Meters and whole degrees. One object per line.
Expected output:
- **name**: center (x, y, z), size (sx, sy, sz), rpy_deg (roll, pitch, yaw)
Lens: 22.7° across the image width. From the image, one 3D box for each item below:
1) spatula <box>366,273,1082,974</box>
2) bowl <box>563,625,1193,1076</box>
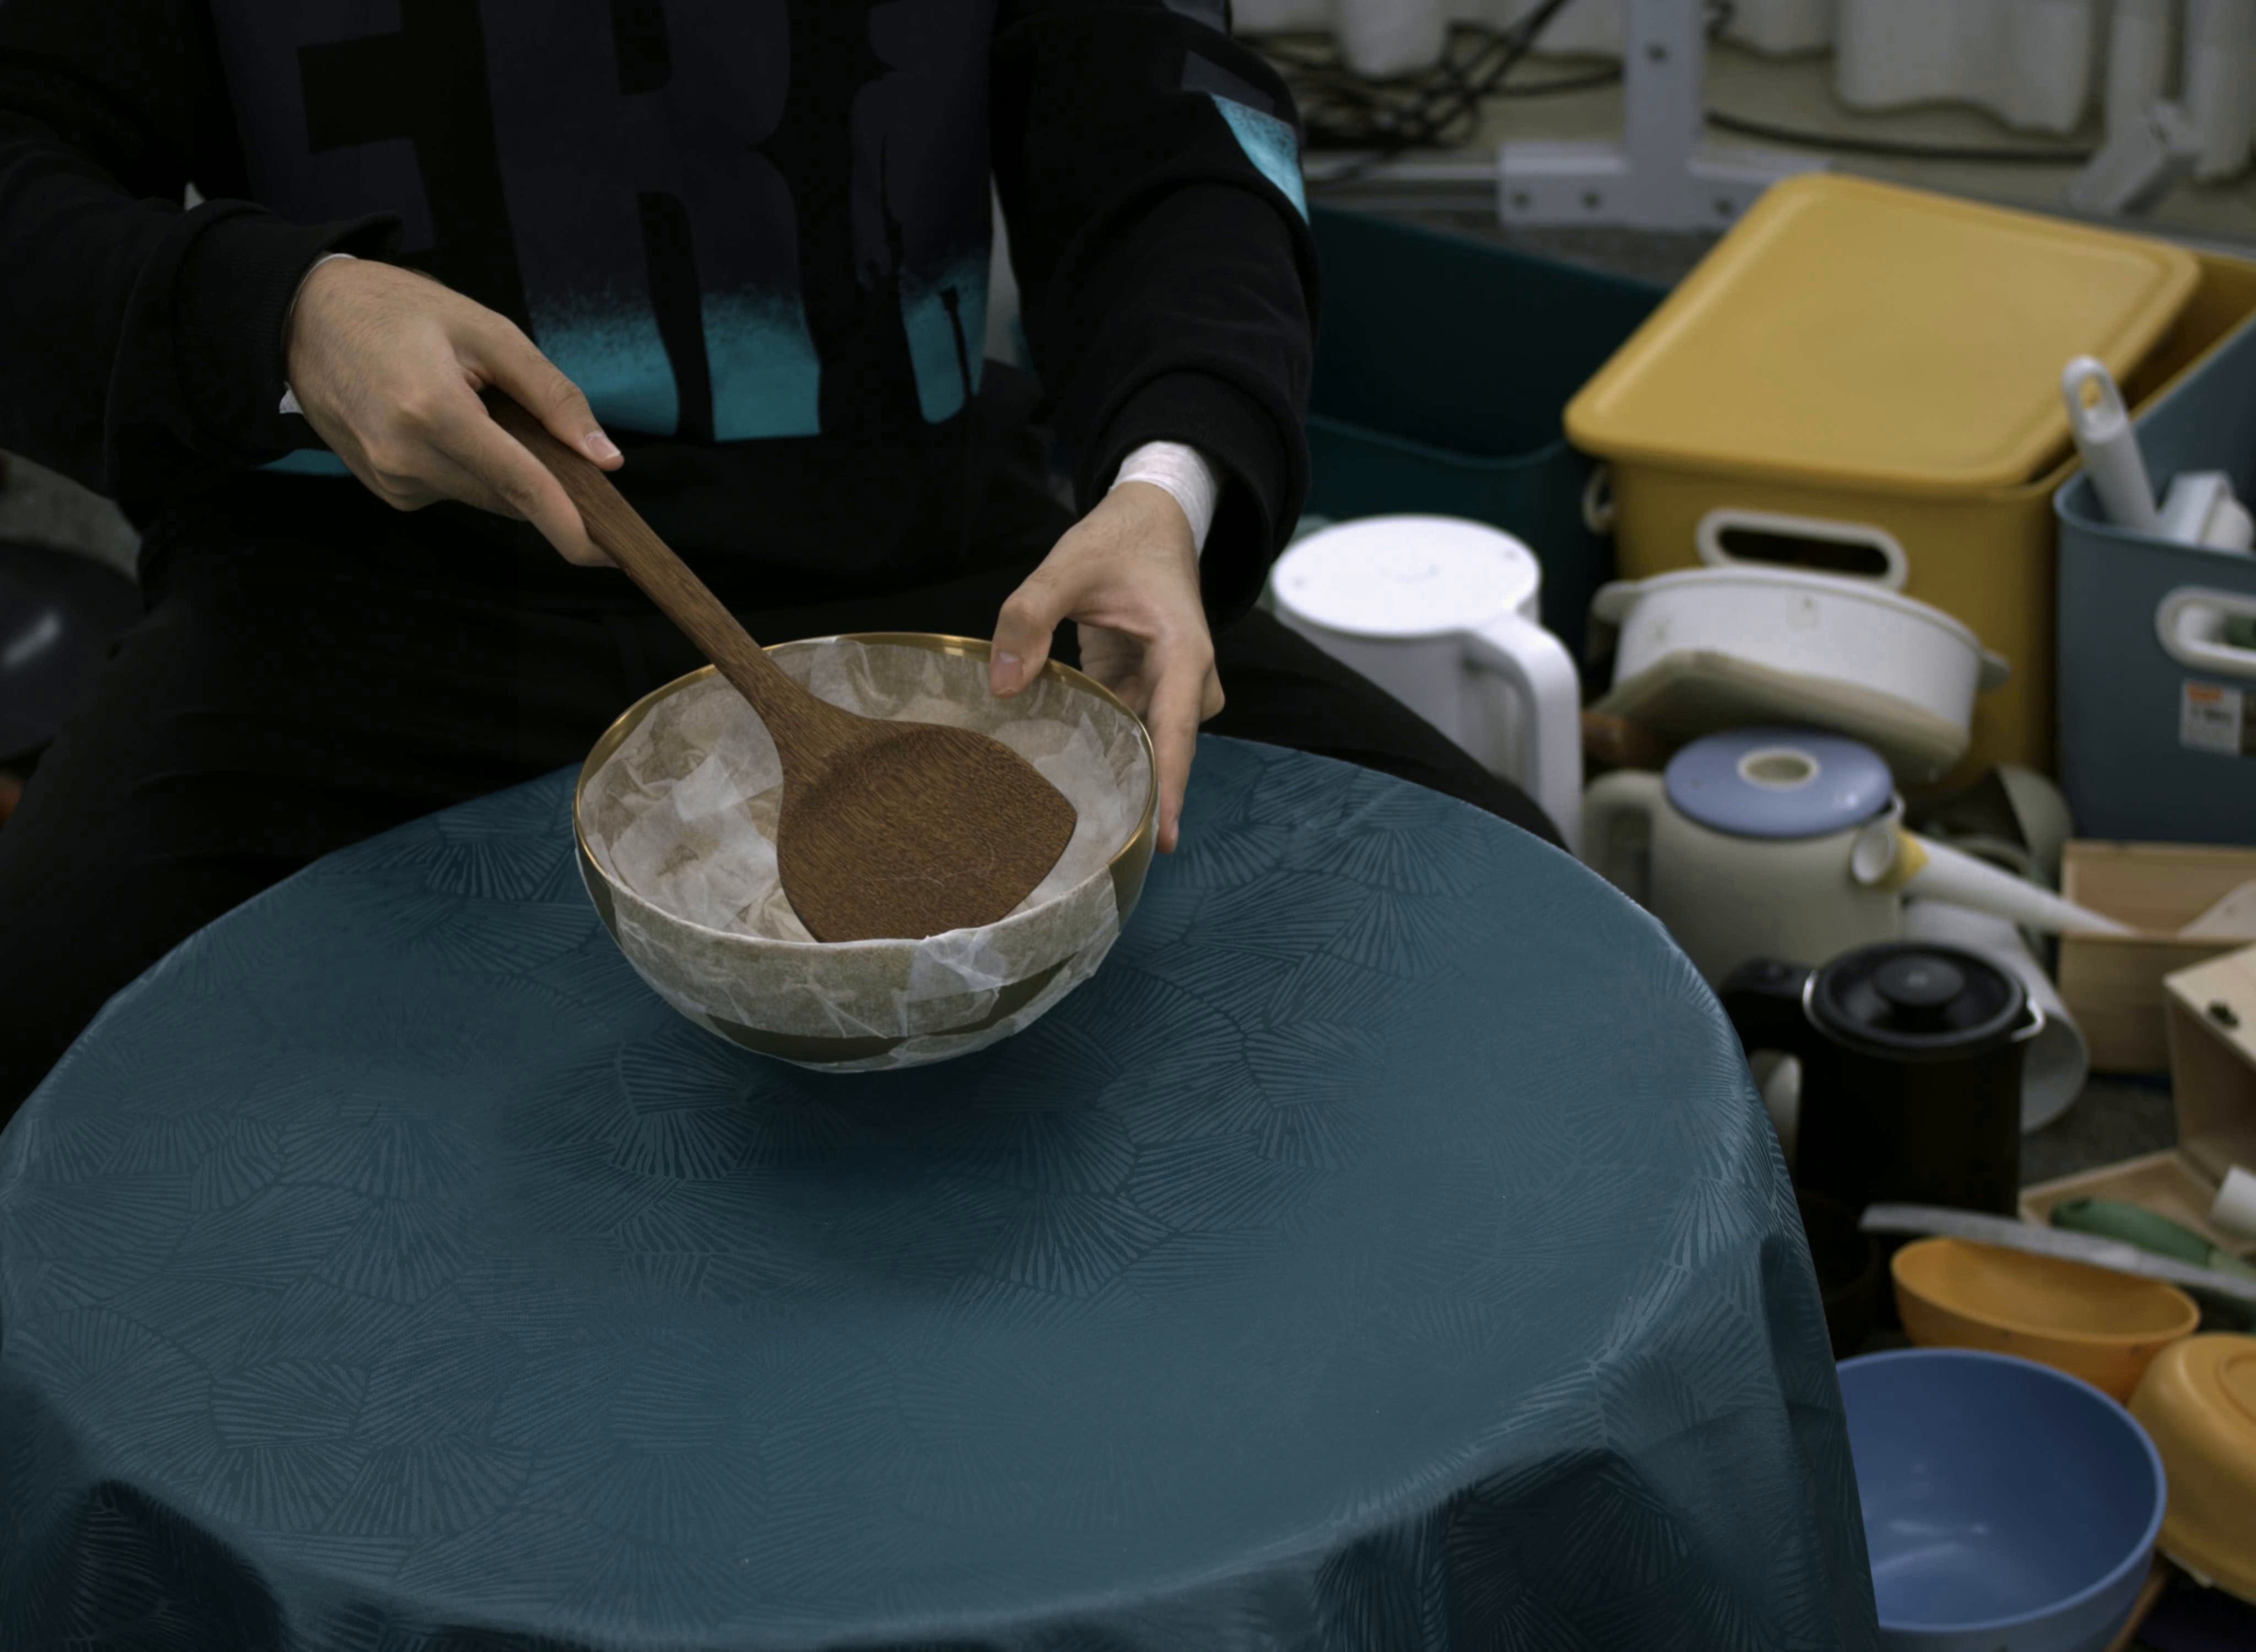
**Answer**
- **spatula**: center (-0.156, -0.082, 1.932), size (0.097, 0.015, 0.388), rpy_deg (-35, 56, -14)
- **bowl**: center (-0.083, 0.022, 1.918), size (0.213, 0.093, 0.218), rpy_deg (-2, 30, 2)
